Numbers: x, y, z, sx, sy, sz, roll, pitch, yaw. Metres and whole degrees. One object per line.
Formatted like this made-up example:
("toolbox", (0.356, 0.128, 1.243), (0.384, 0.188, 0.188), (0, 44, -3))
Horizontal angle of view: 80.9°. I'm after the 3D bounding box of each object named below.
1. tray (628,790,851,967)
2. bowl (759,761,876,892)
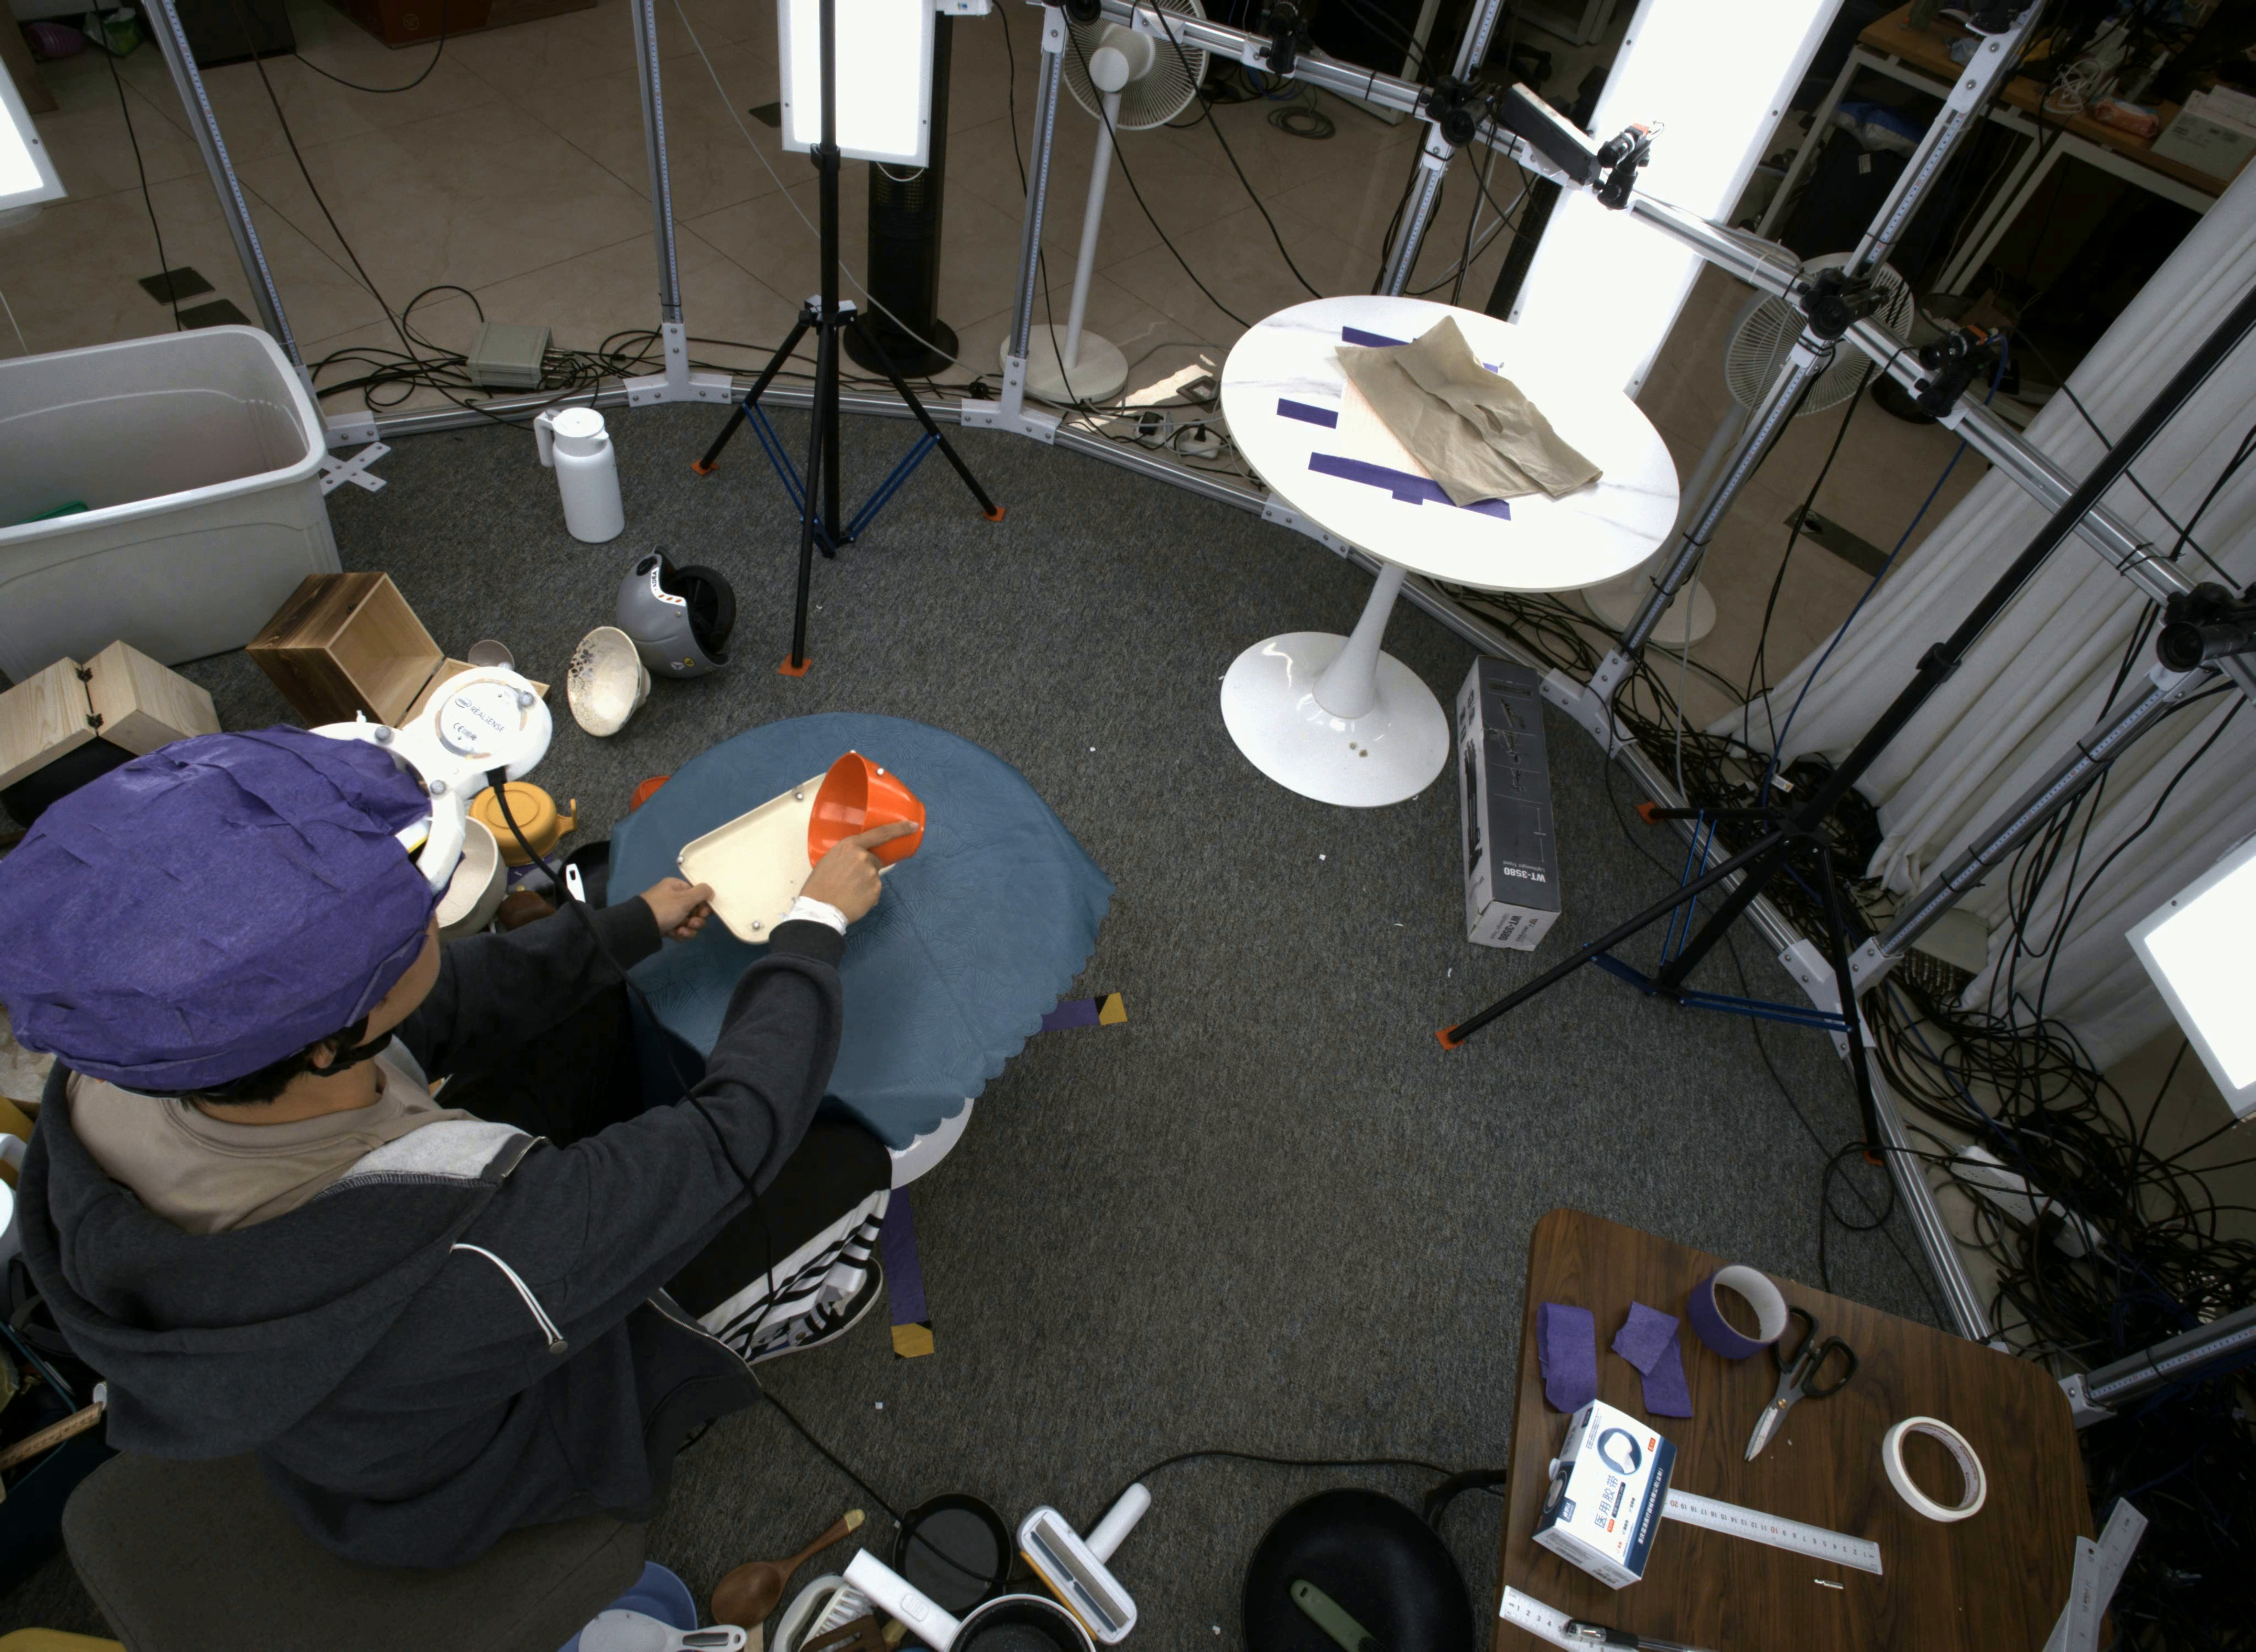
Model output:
("tray", (-0.471, 0.060, 1.574), (0.168, 0.018, 0.240), (43, 53, 14))
("bowl", (-0.350, 0.007, 1.479), (0.106, 0.149, 0.144), (11, 48, -29))
